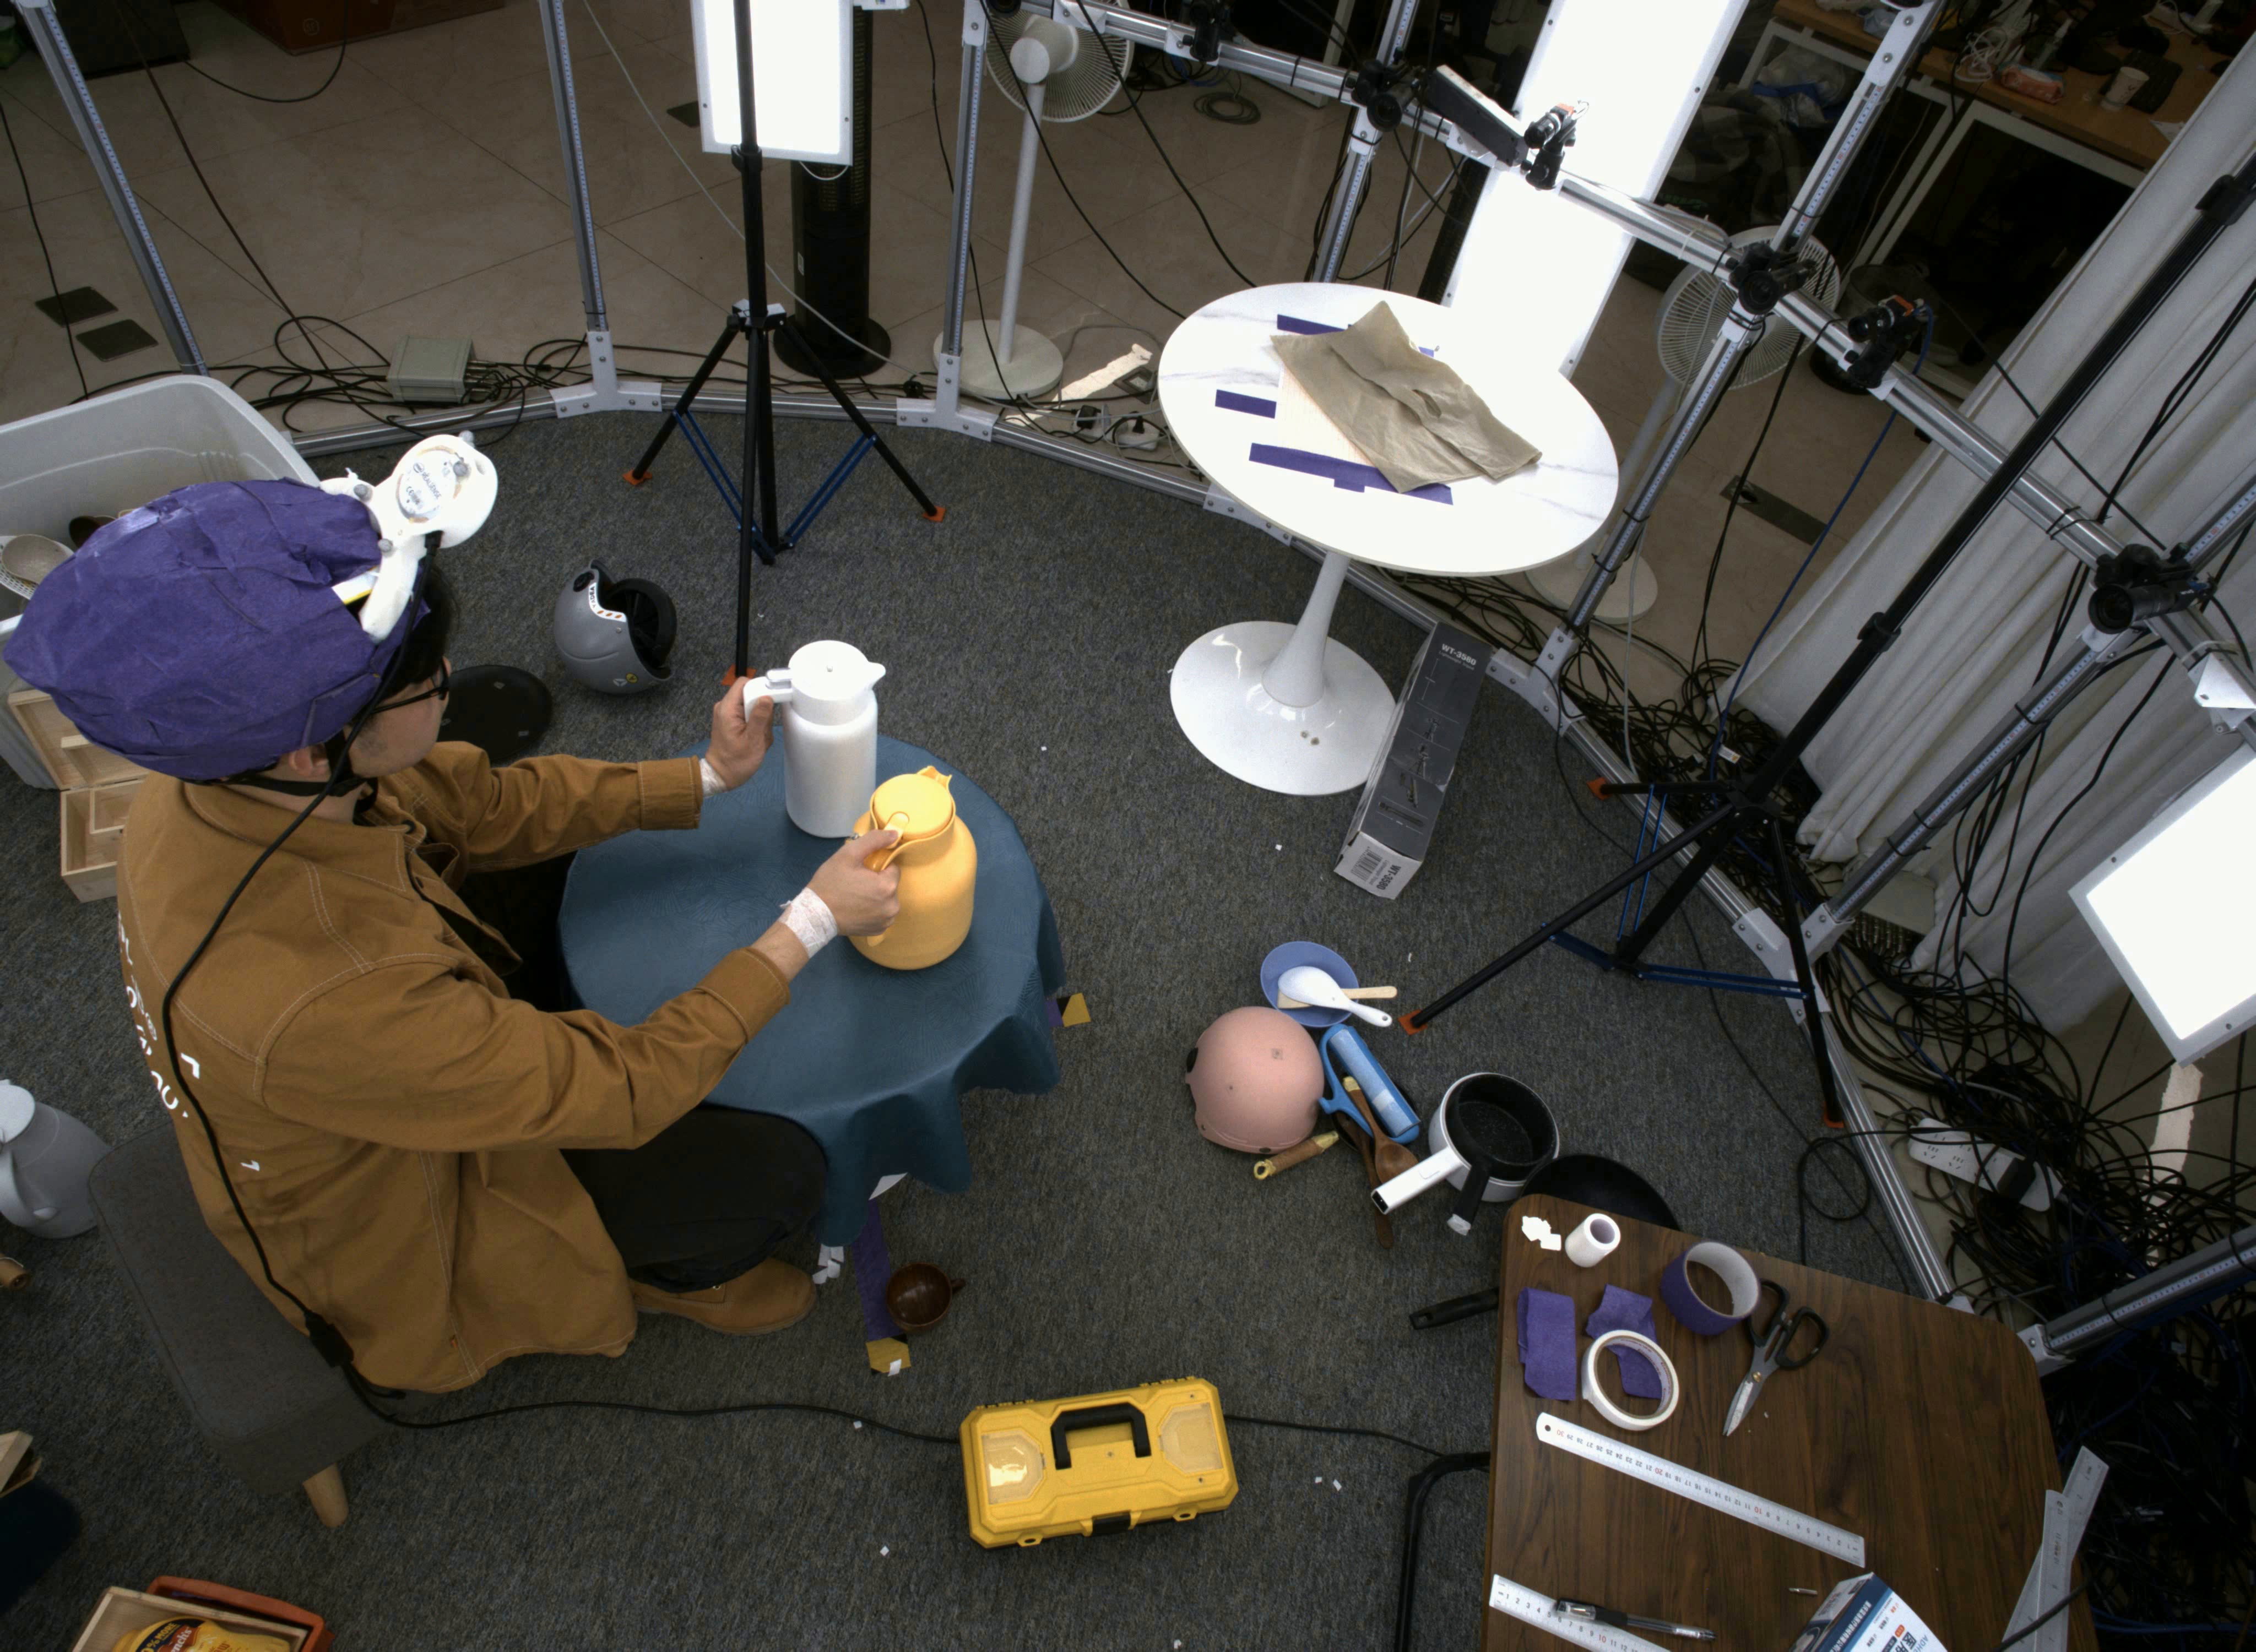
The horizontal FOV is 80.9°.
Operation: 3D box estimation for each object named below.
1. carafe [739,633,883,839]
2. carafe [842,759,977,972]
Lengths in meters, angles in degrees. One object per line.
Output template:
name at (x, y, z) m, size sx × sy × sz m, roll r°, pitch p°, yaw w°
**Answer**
carafe at (-0.396, -0.107, 1.636) m, size 0.173 × 0.274 × 0.121 m, roll -10°, pitch 57°, yaw -19°
carafe at (-0.272, 0.057, 1.549) m, size 0.160 × 0.267 × 0.201 m, roll 24°, pitch 50°, yaw 11°
